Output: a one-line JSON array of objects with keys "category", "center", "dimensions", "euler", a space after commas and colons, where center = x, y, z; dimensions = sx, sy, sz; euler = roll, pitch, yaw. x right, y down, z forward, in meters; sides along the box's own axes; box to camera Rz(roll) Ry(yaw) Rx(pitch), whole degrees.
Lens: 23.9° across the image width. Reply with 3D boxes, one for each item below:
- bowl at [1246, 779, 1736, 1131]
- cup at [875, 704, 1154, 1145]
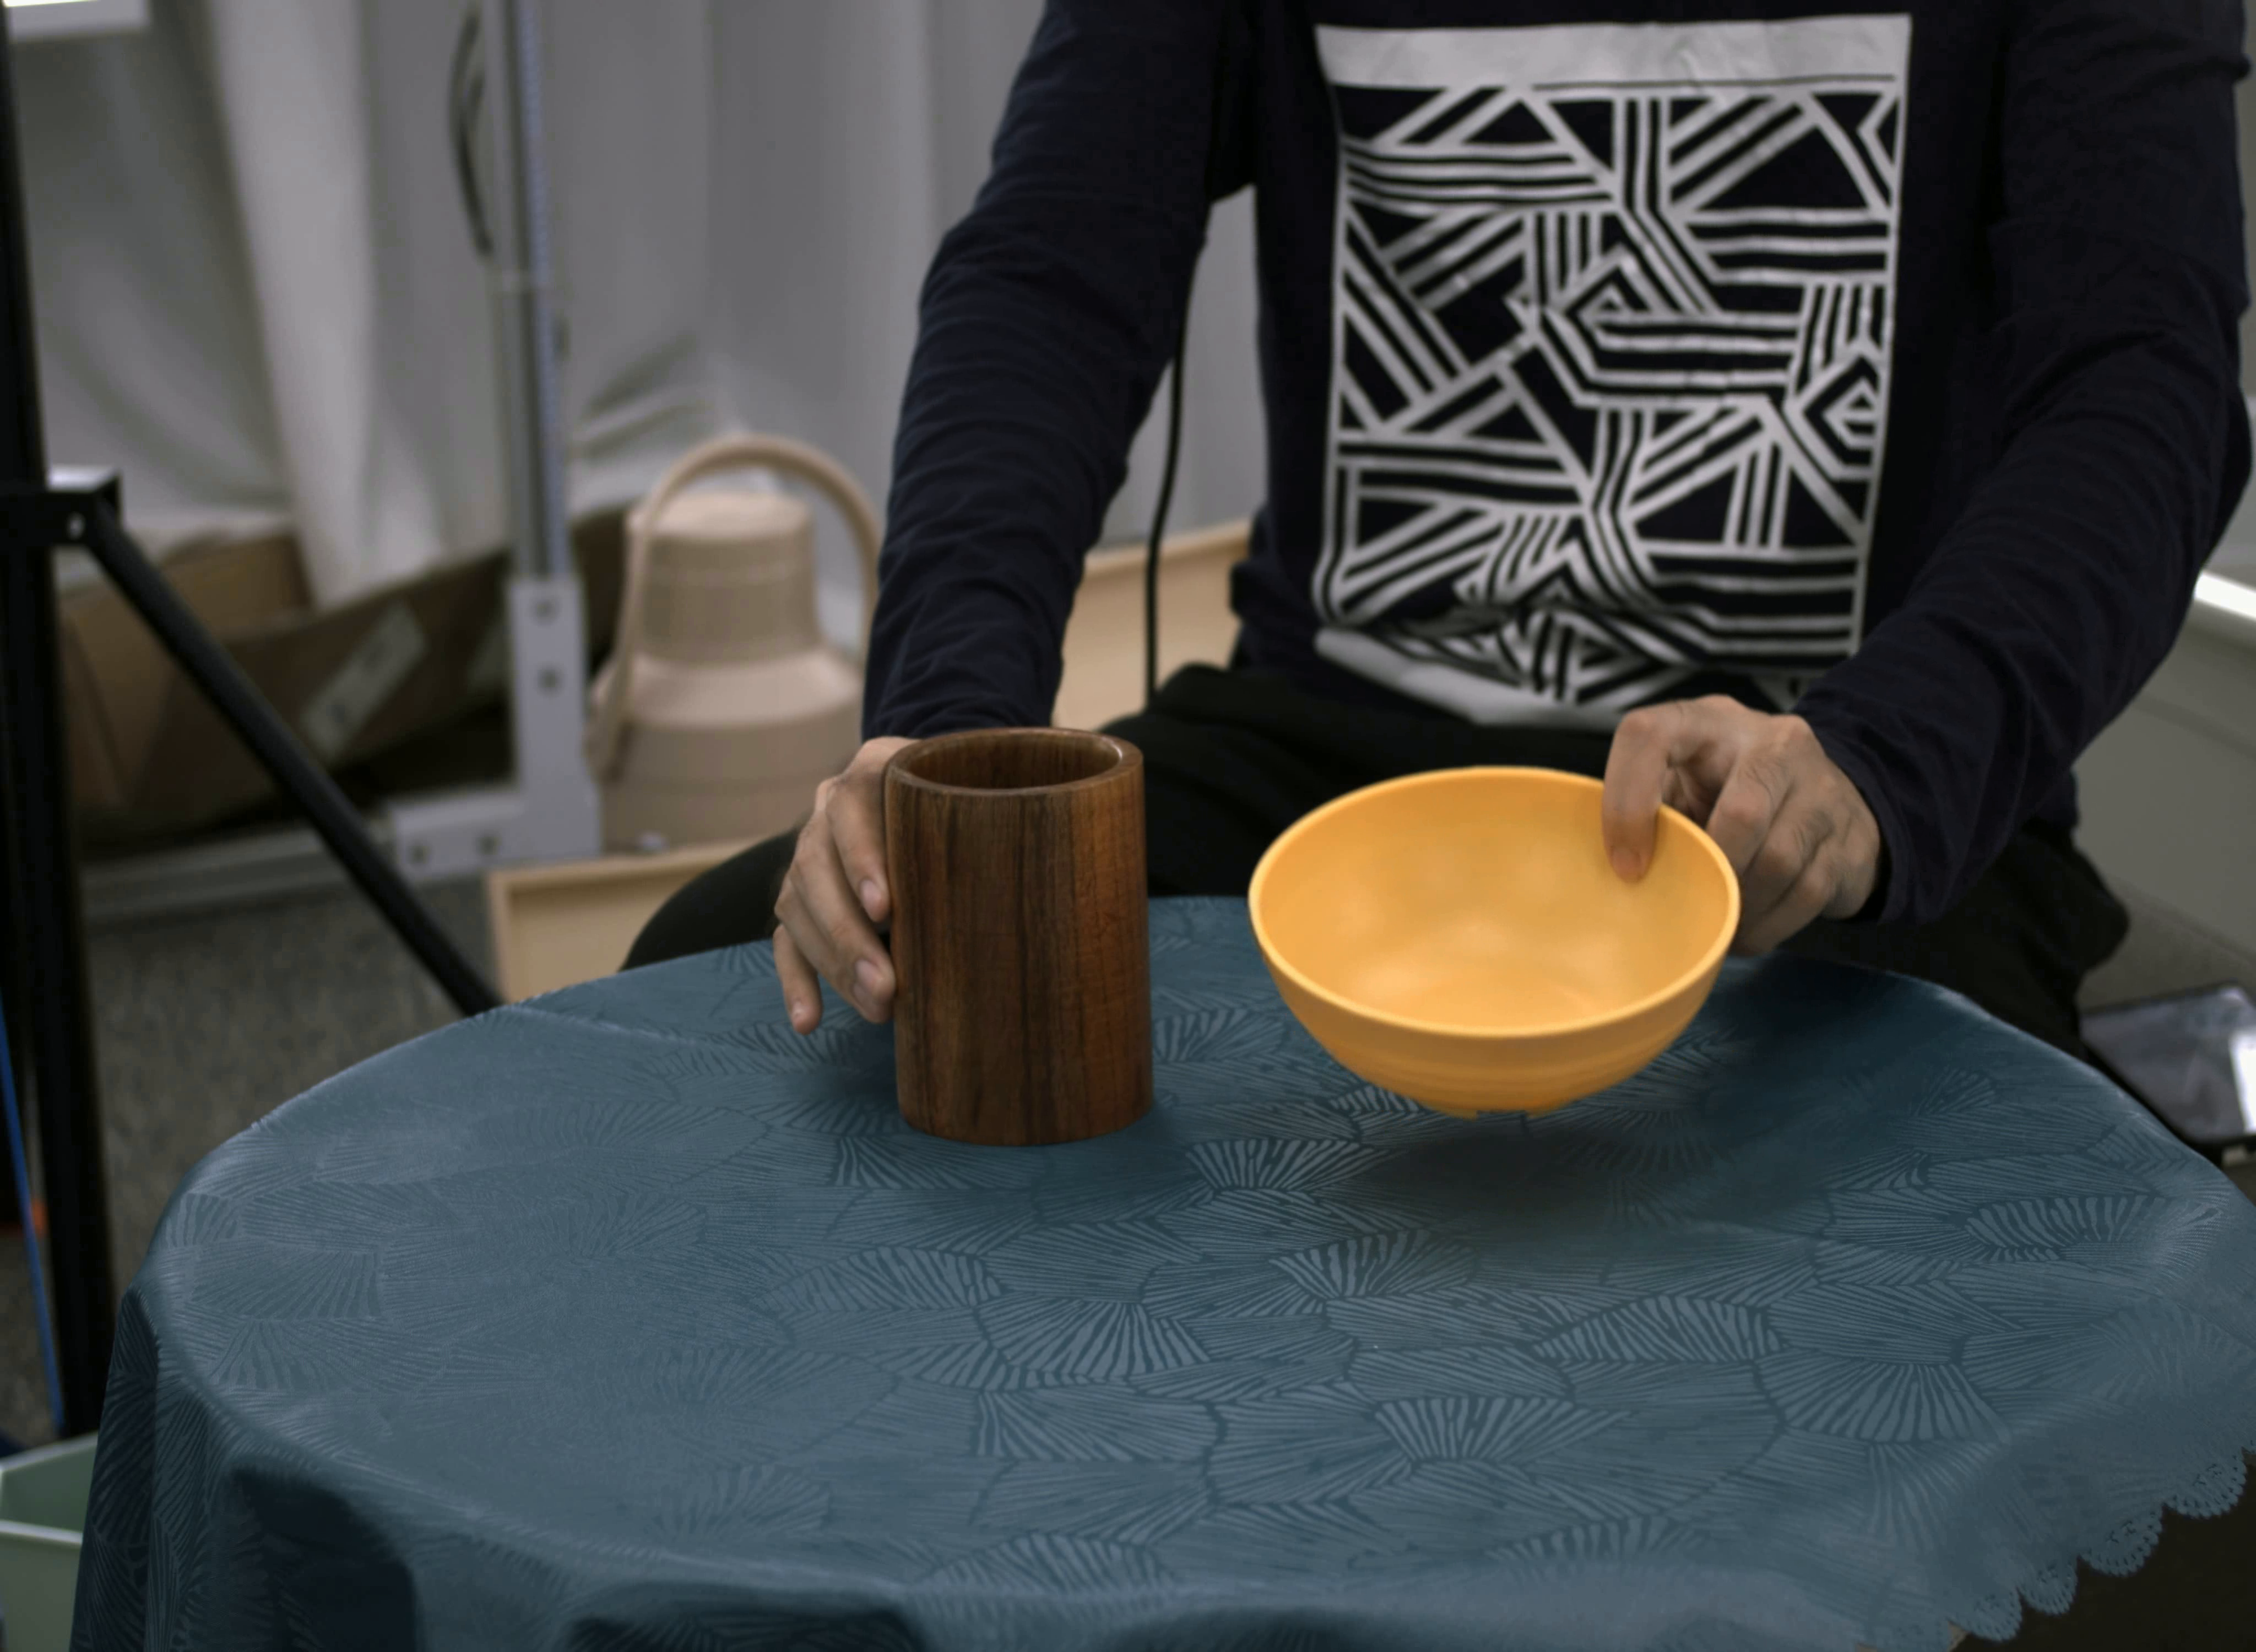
[{"category": "bowl", "center": [0.108, 0.048, 1.578], "dimensions": [0.144, 0.060, 0.146], "euler": [-3, 31, 0]}, {"category": "cup", "center": [-0.037, 0.029, 1.630], "dimensions": [0.087, 0.118, 0.088], "euler": [1, 16, -2]}]
